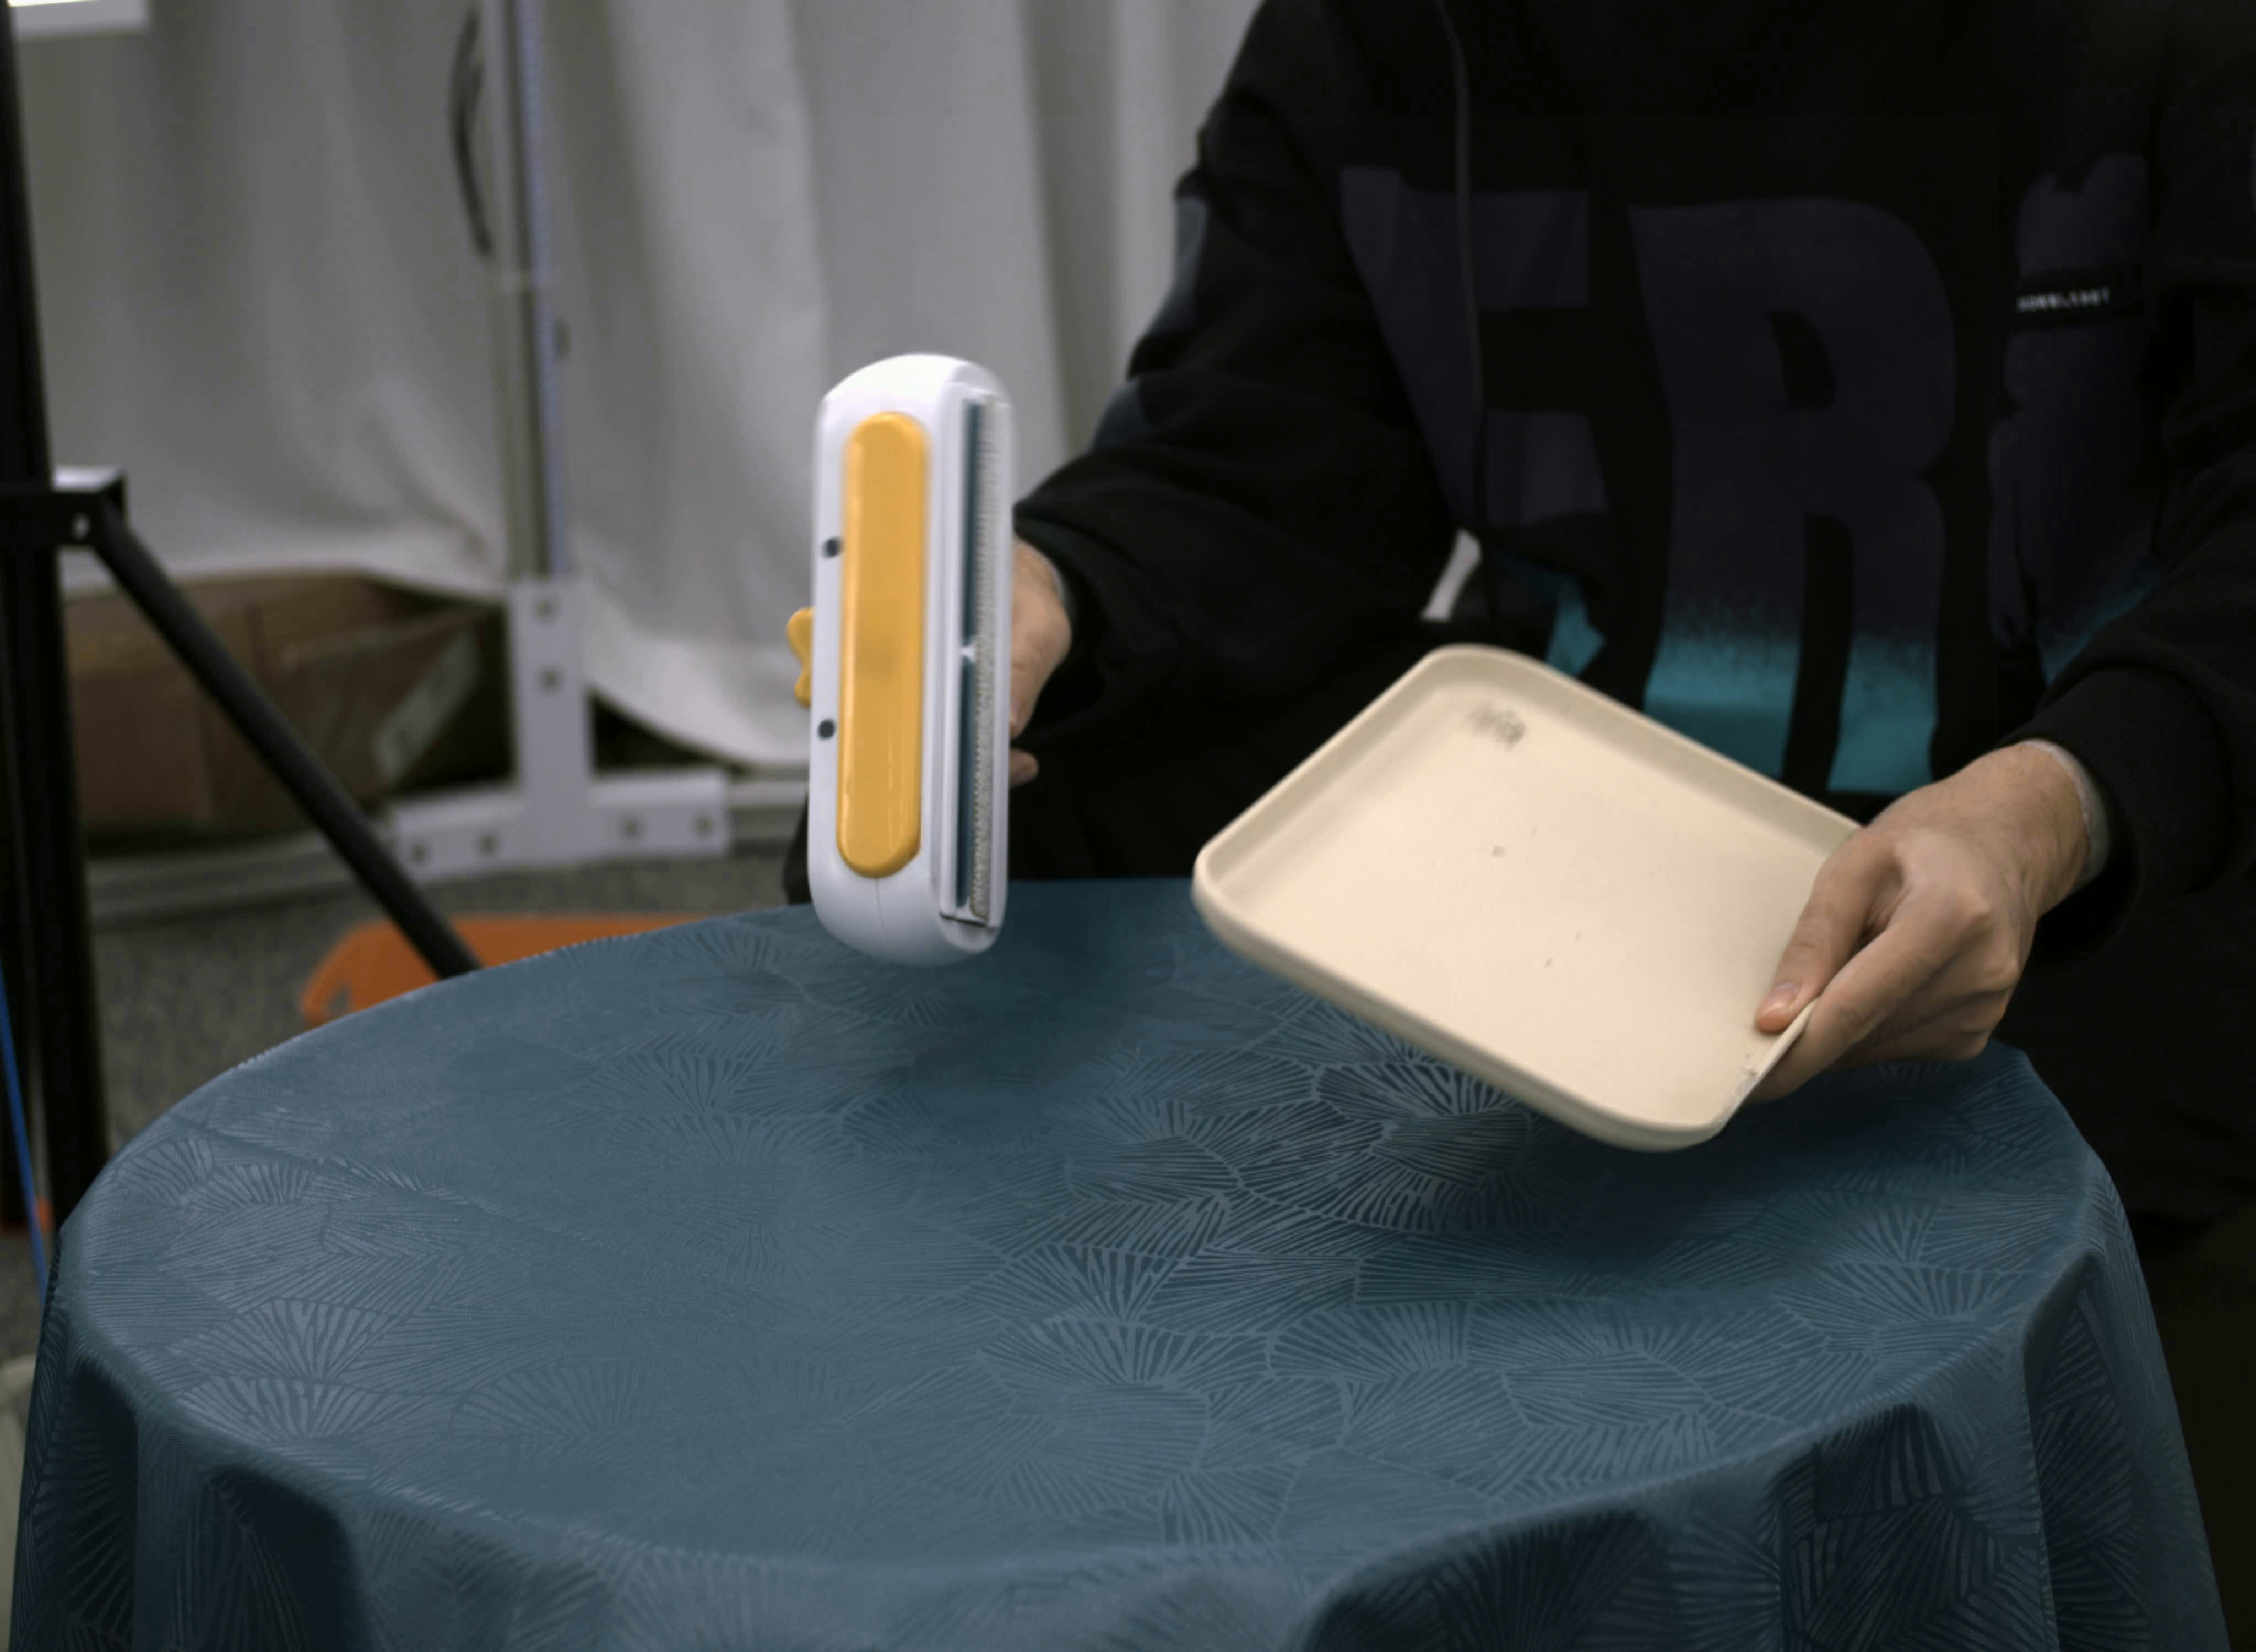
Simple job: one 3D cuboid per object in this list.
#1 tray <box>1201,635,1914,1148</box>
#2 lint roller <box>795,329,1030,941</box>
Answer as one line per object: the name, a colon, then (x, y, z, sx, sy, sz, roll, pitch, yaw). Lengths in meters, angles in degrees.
tray: (0.130, 0.018, 1.567, 0.173, 0.017, 0.236, 28, 29, 15)
lint roller: (-0.060, -0.048, 1.737, 0.074, 0.194, 0.190, -3, -13, 12)
